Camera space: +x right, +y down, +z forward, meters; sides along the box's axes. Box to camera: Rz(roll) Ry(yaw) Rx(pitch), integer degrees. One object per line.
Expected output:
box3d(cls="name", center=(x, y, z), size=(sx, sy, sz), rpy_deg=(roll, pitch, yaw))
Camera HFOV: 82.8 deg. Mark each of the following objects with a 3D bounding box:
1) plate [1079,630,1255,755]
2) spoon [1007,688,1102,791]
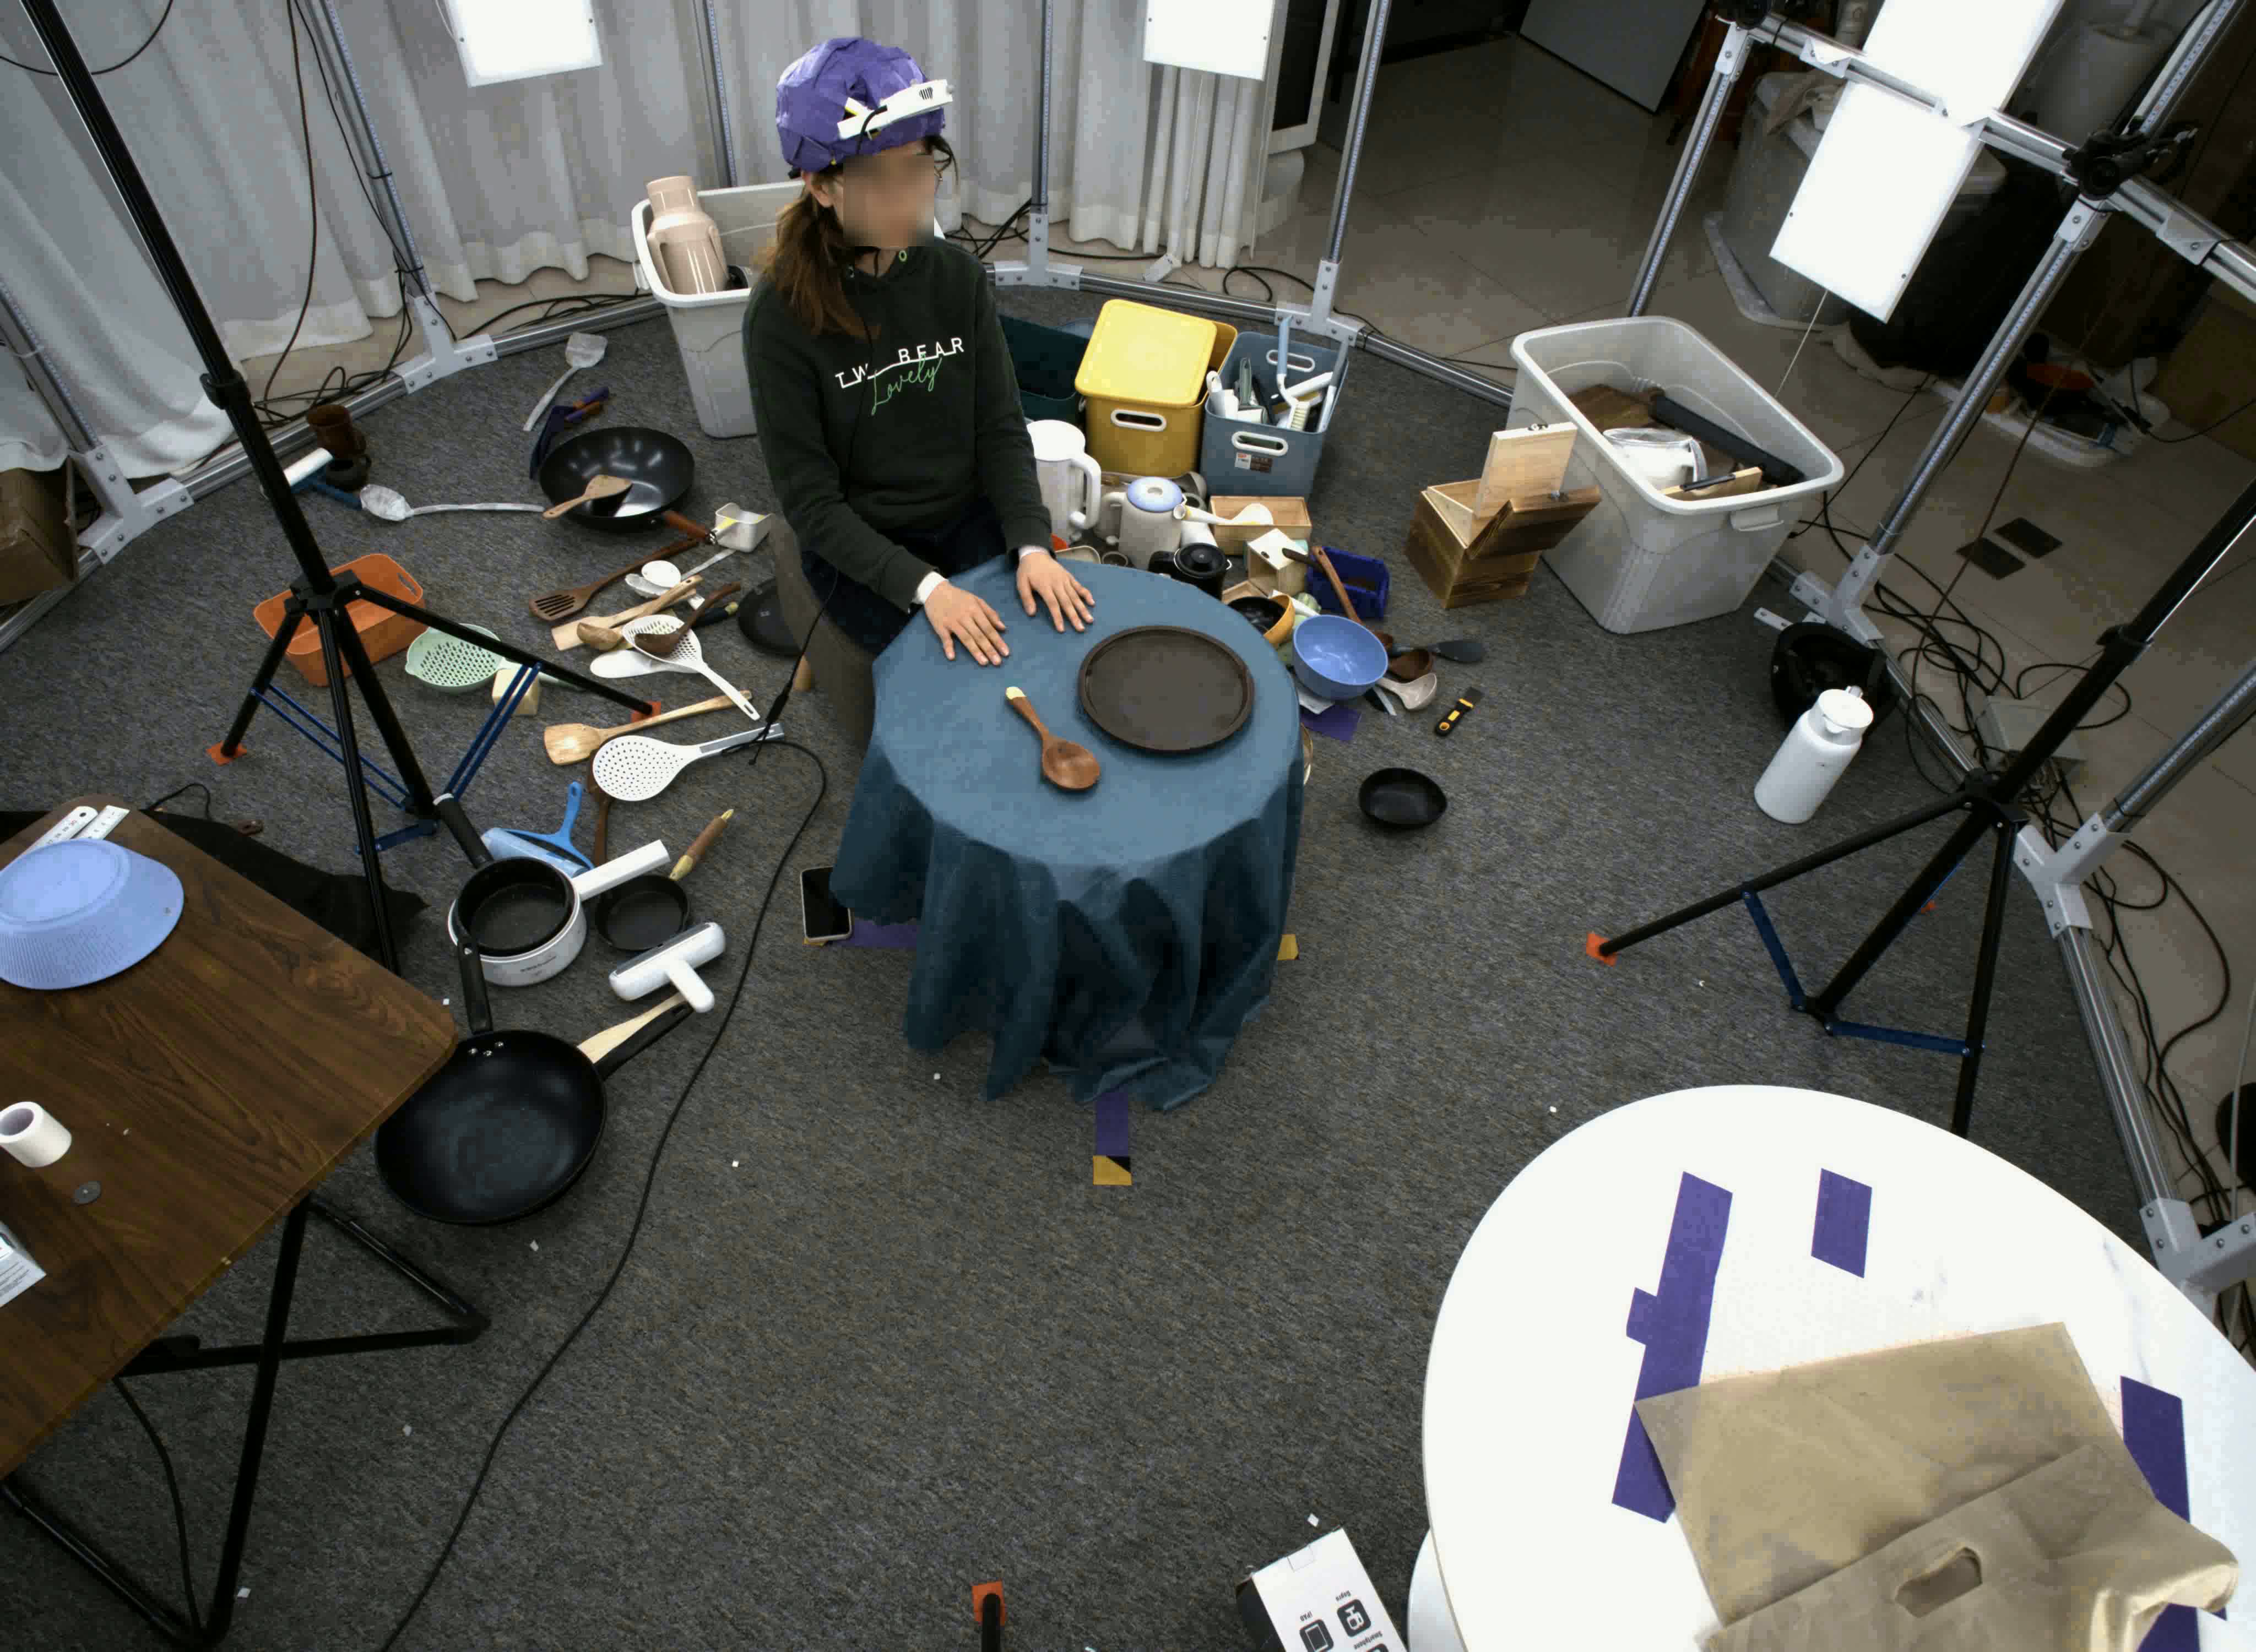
box3d(cls="plate", center=(0.056, -0.194, 1.843), size=(0.254, 0.028, 0.261), rpy_deg=(3, 49, -3))
box3d(cls="spoon", center=(-0.109, -0.121, 1.771), size=(0.076, 0.017, 0.220), rpy_deg=(-23, 54, -22))
